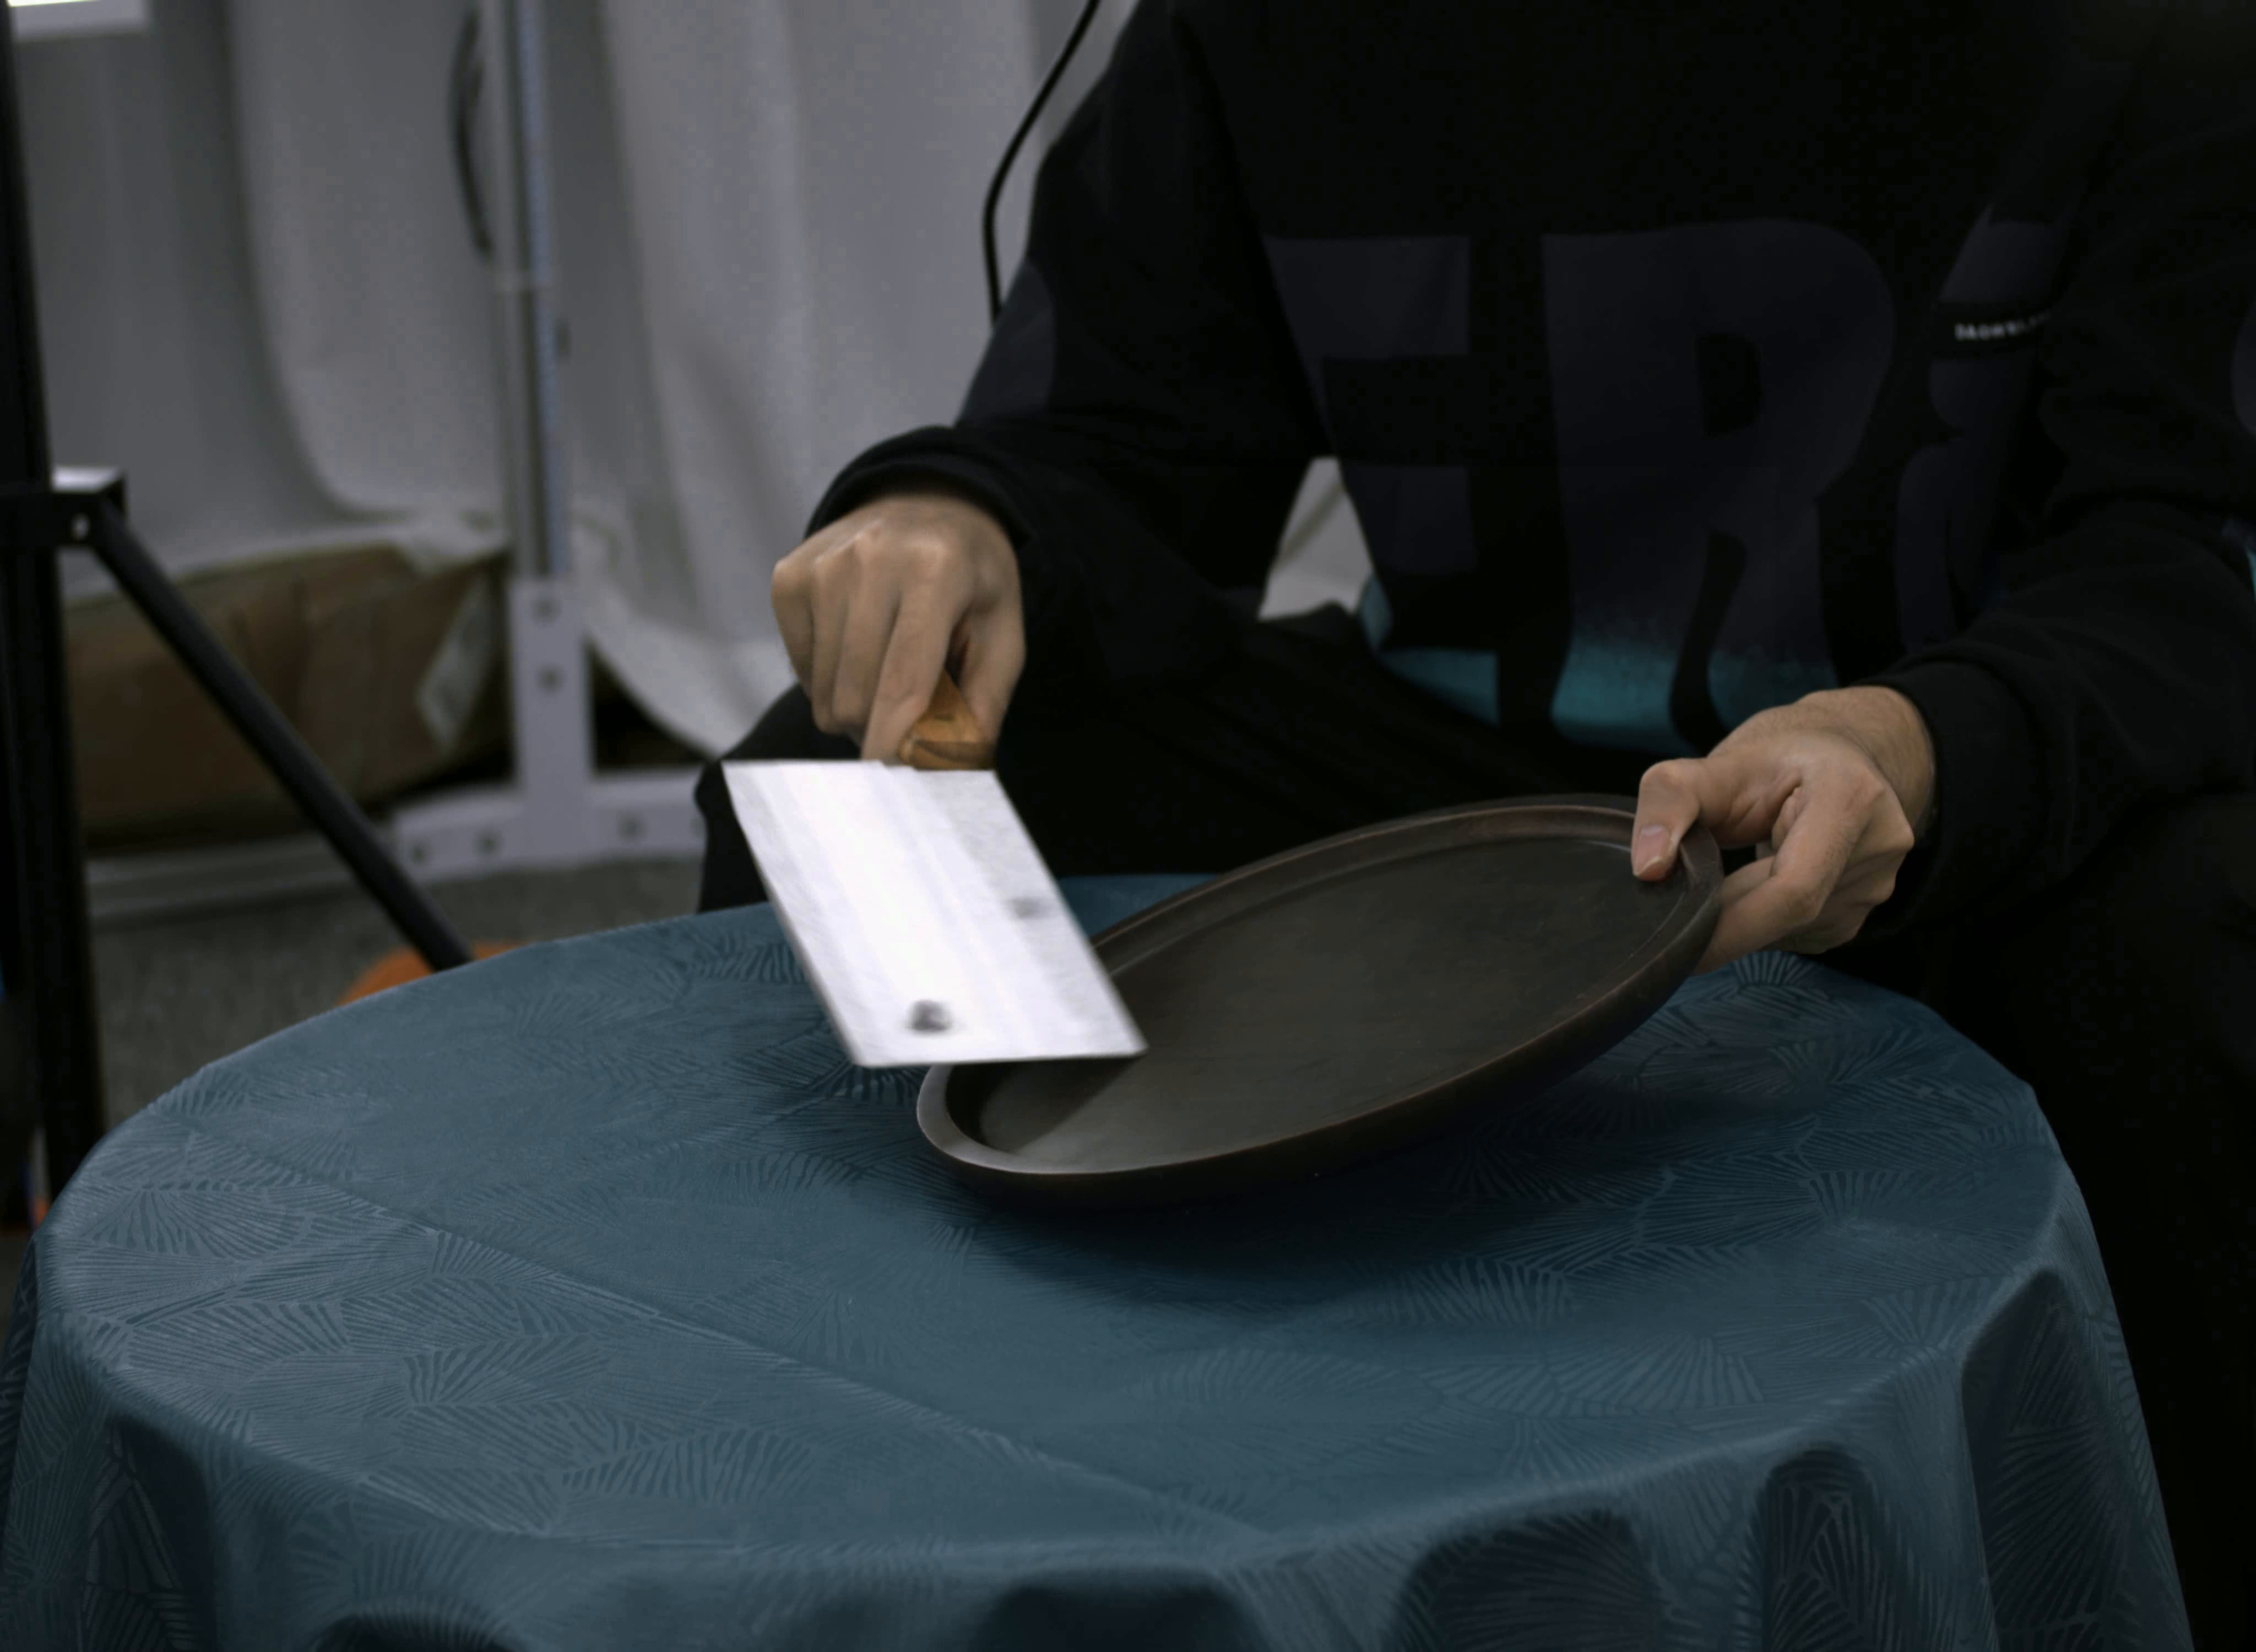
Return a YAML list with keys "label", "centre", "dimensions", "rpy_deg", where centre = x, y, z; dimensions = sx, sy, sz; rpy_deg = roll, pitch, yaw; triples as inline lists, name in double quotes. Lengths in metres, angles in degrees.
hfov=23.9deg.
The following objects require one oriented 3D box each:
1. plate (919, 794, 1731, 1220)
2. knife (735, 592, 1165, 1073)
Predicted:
- label: "plate"
  centre: [0.059, 0.053, 1.582]
  dimensions: [0.254, 0.029, 0.256]
  rpy_deg: [-18, 17, 4]
- label: "knife"
  centre: [-0.074, 0.000, 1.715]
  dimensions: [0.091, 0.021, 0.311]
  rpy_deg: [-7, 29, -16]
